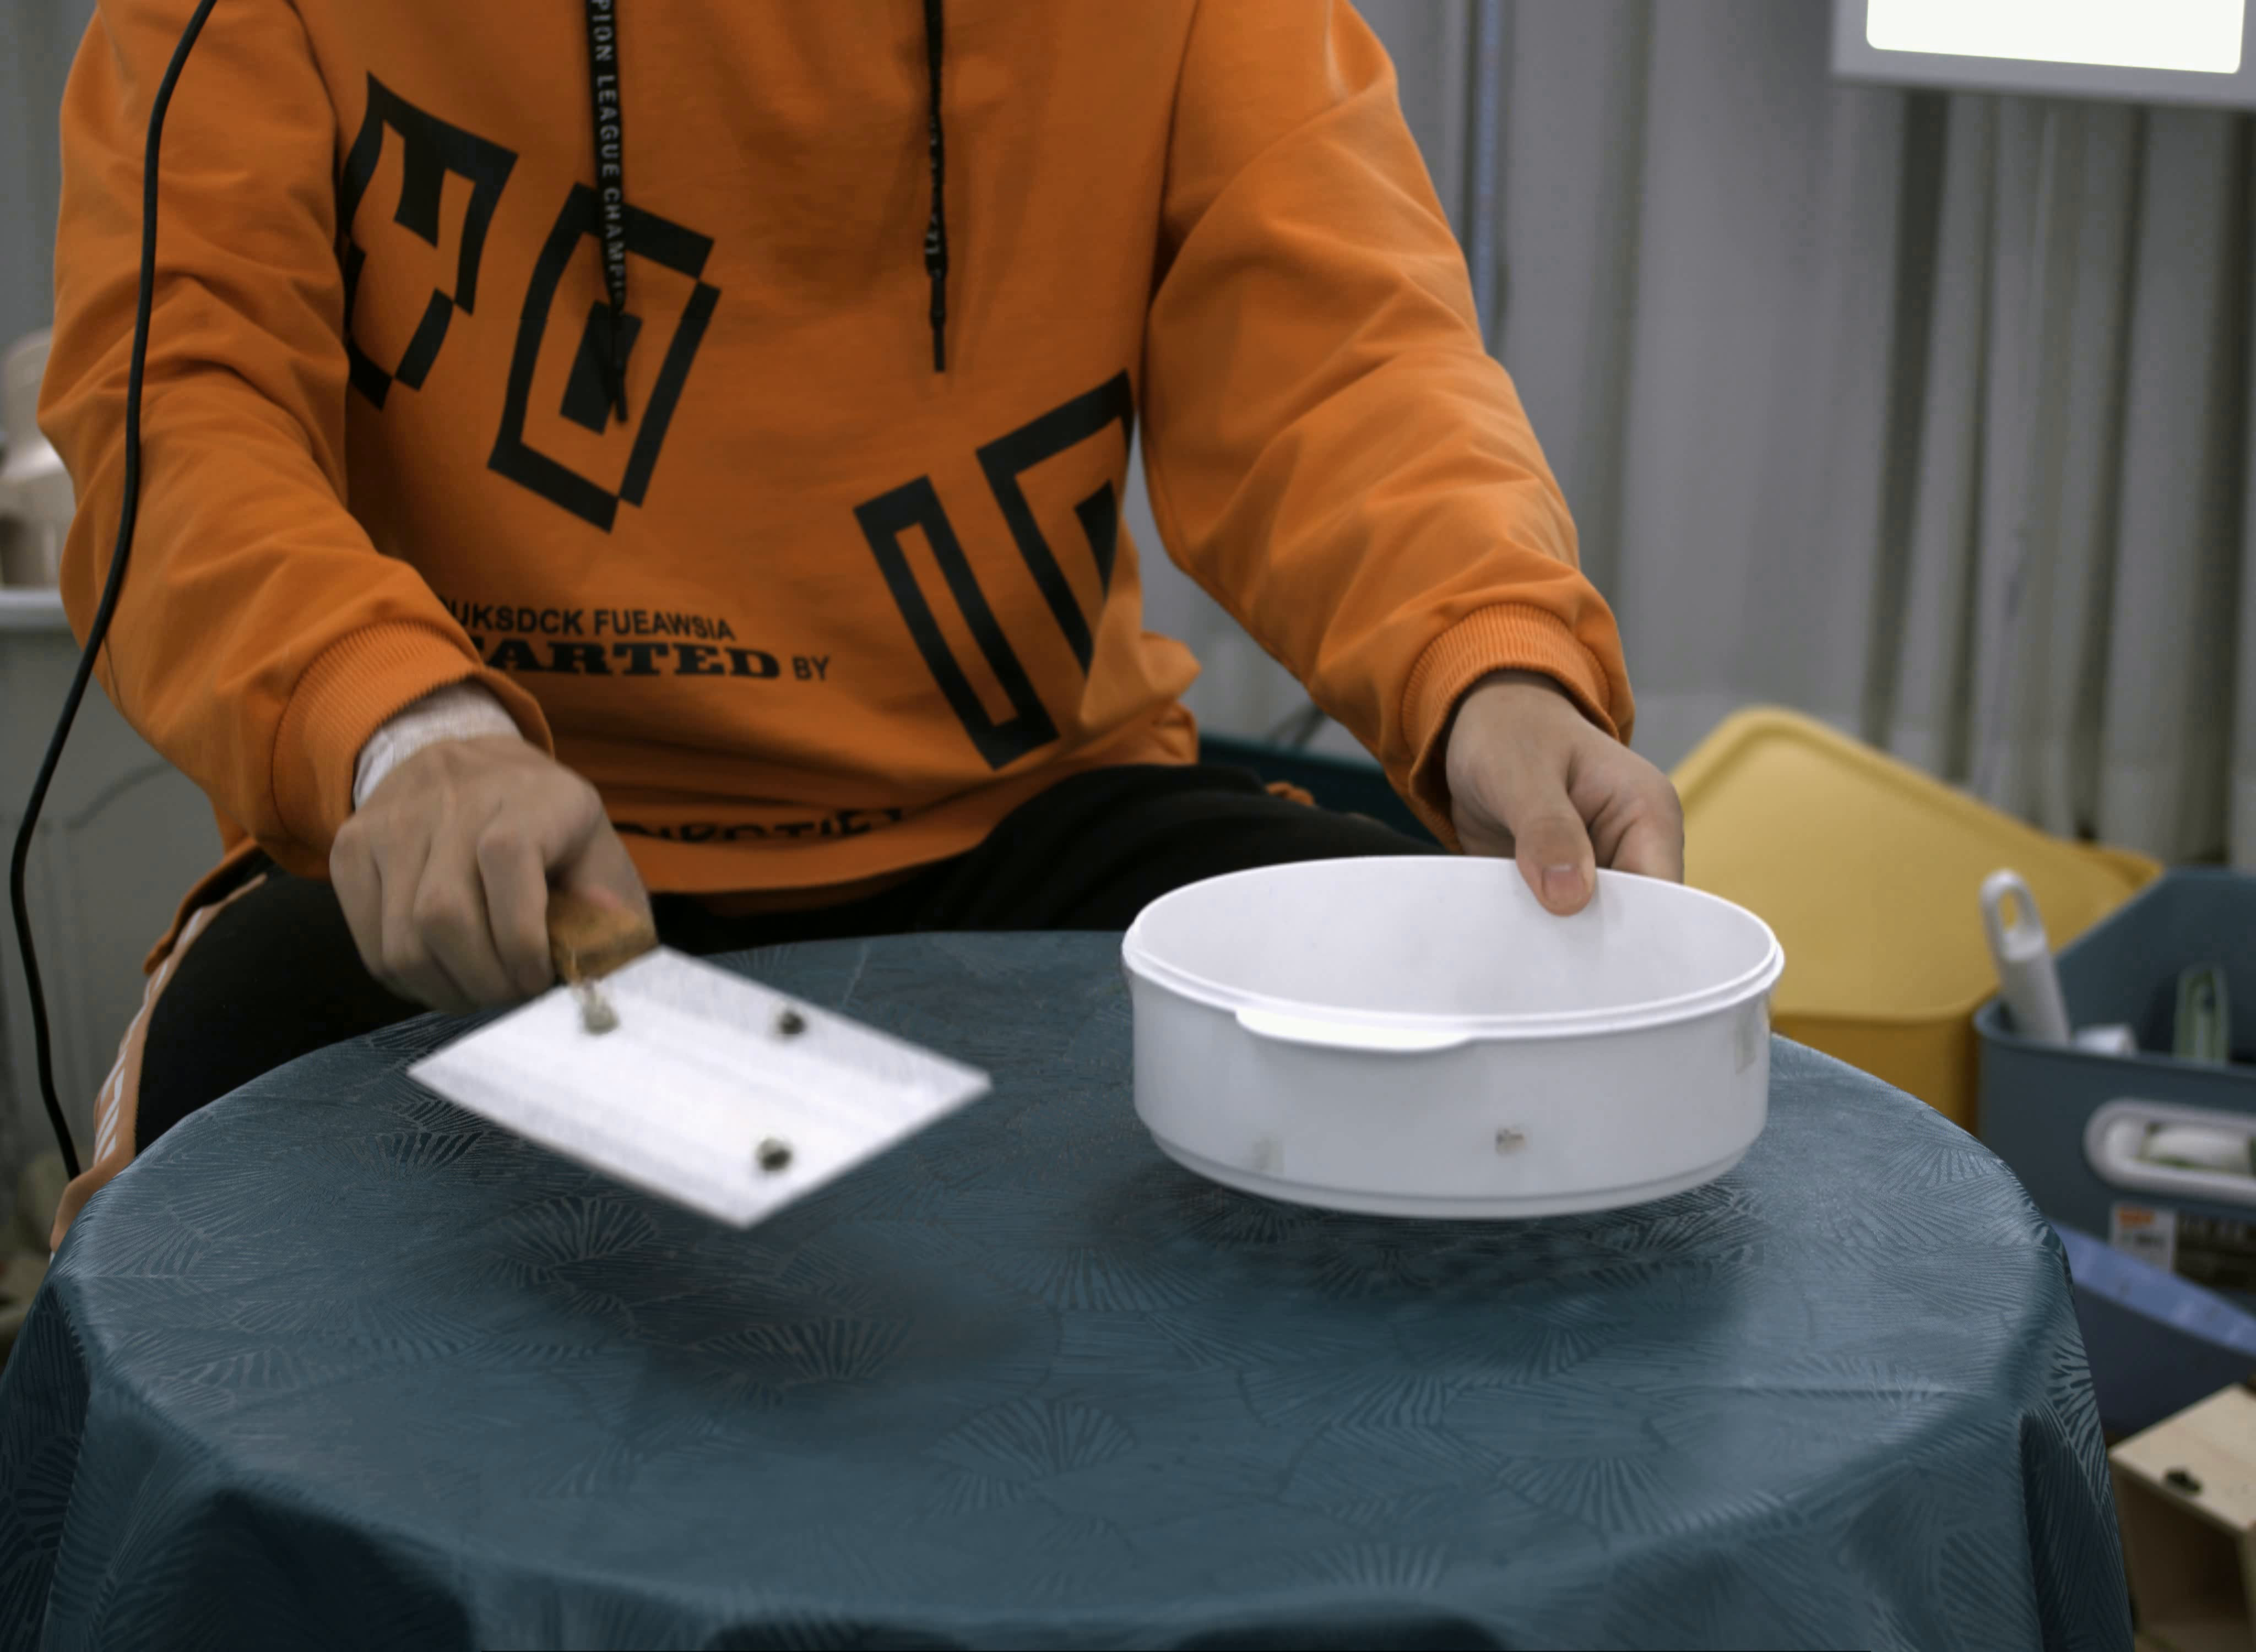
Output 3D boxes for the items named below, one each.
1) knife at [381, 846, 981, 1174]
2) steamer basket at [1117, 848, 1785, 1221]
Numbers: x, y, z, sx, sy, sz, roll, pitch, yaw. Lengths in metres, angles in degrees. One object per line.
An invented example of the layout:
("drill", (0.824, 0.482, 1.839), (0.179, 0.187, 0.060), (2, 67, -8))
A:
("knife", (-0.159, 0.055, 1.559), (0.093, 0.021, 0.302), (-30, 26, -28))
("steamer basket", (0.098, 0.063, 1.599), (0.200, 0.070, 0.231), (5, 15, 20))
